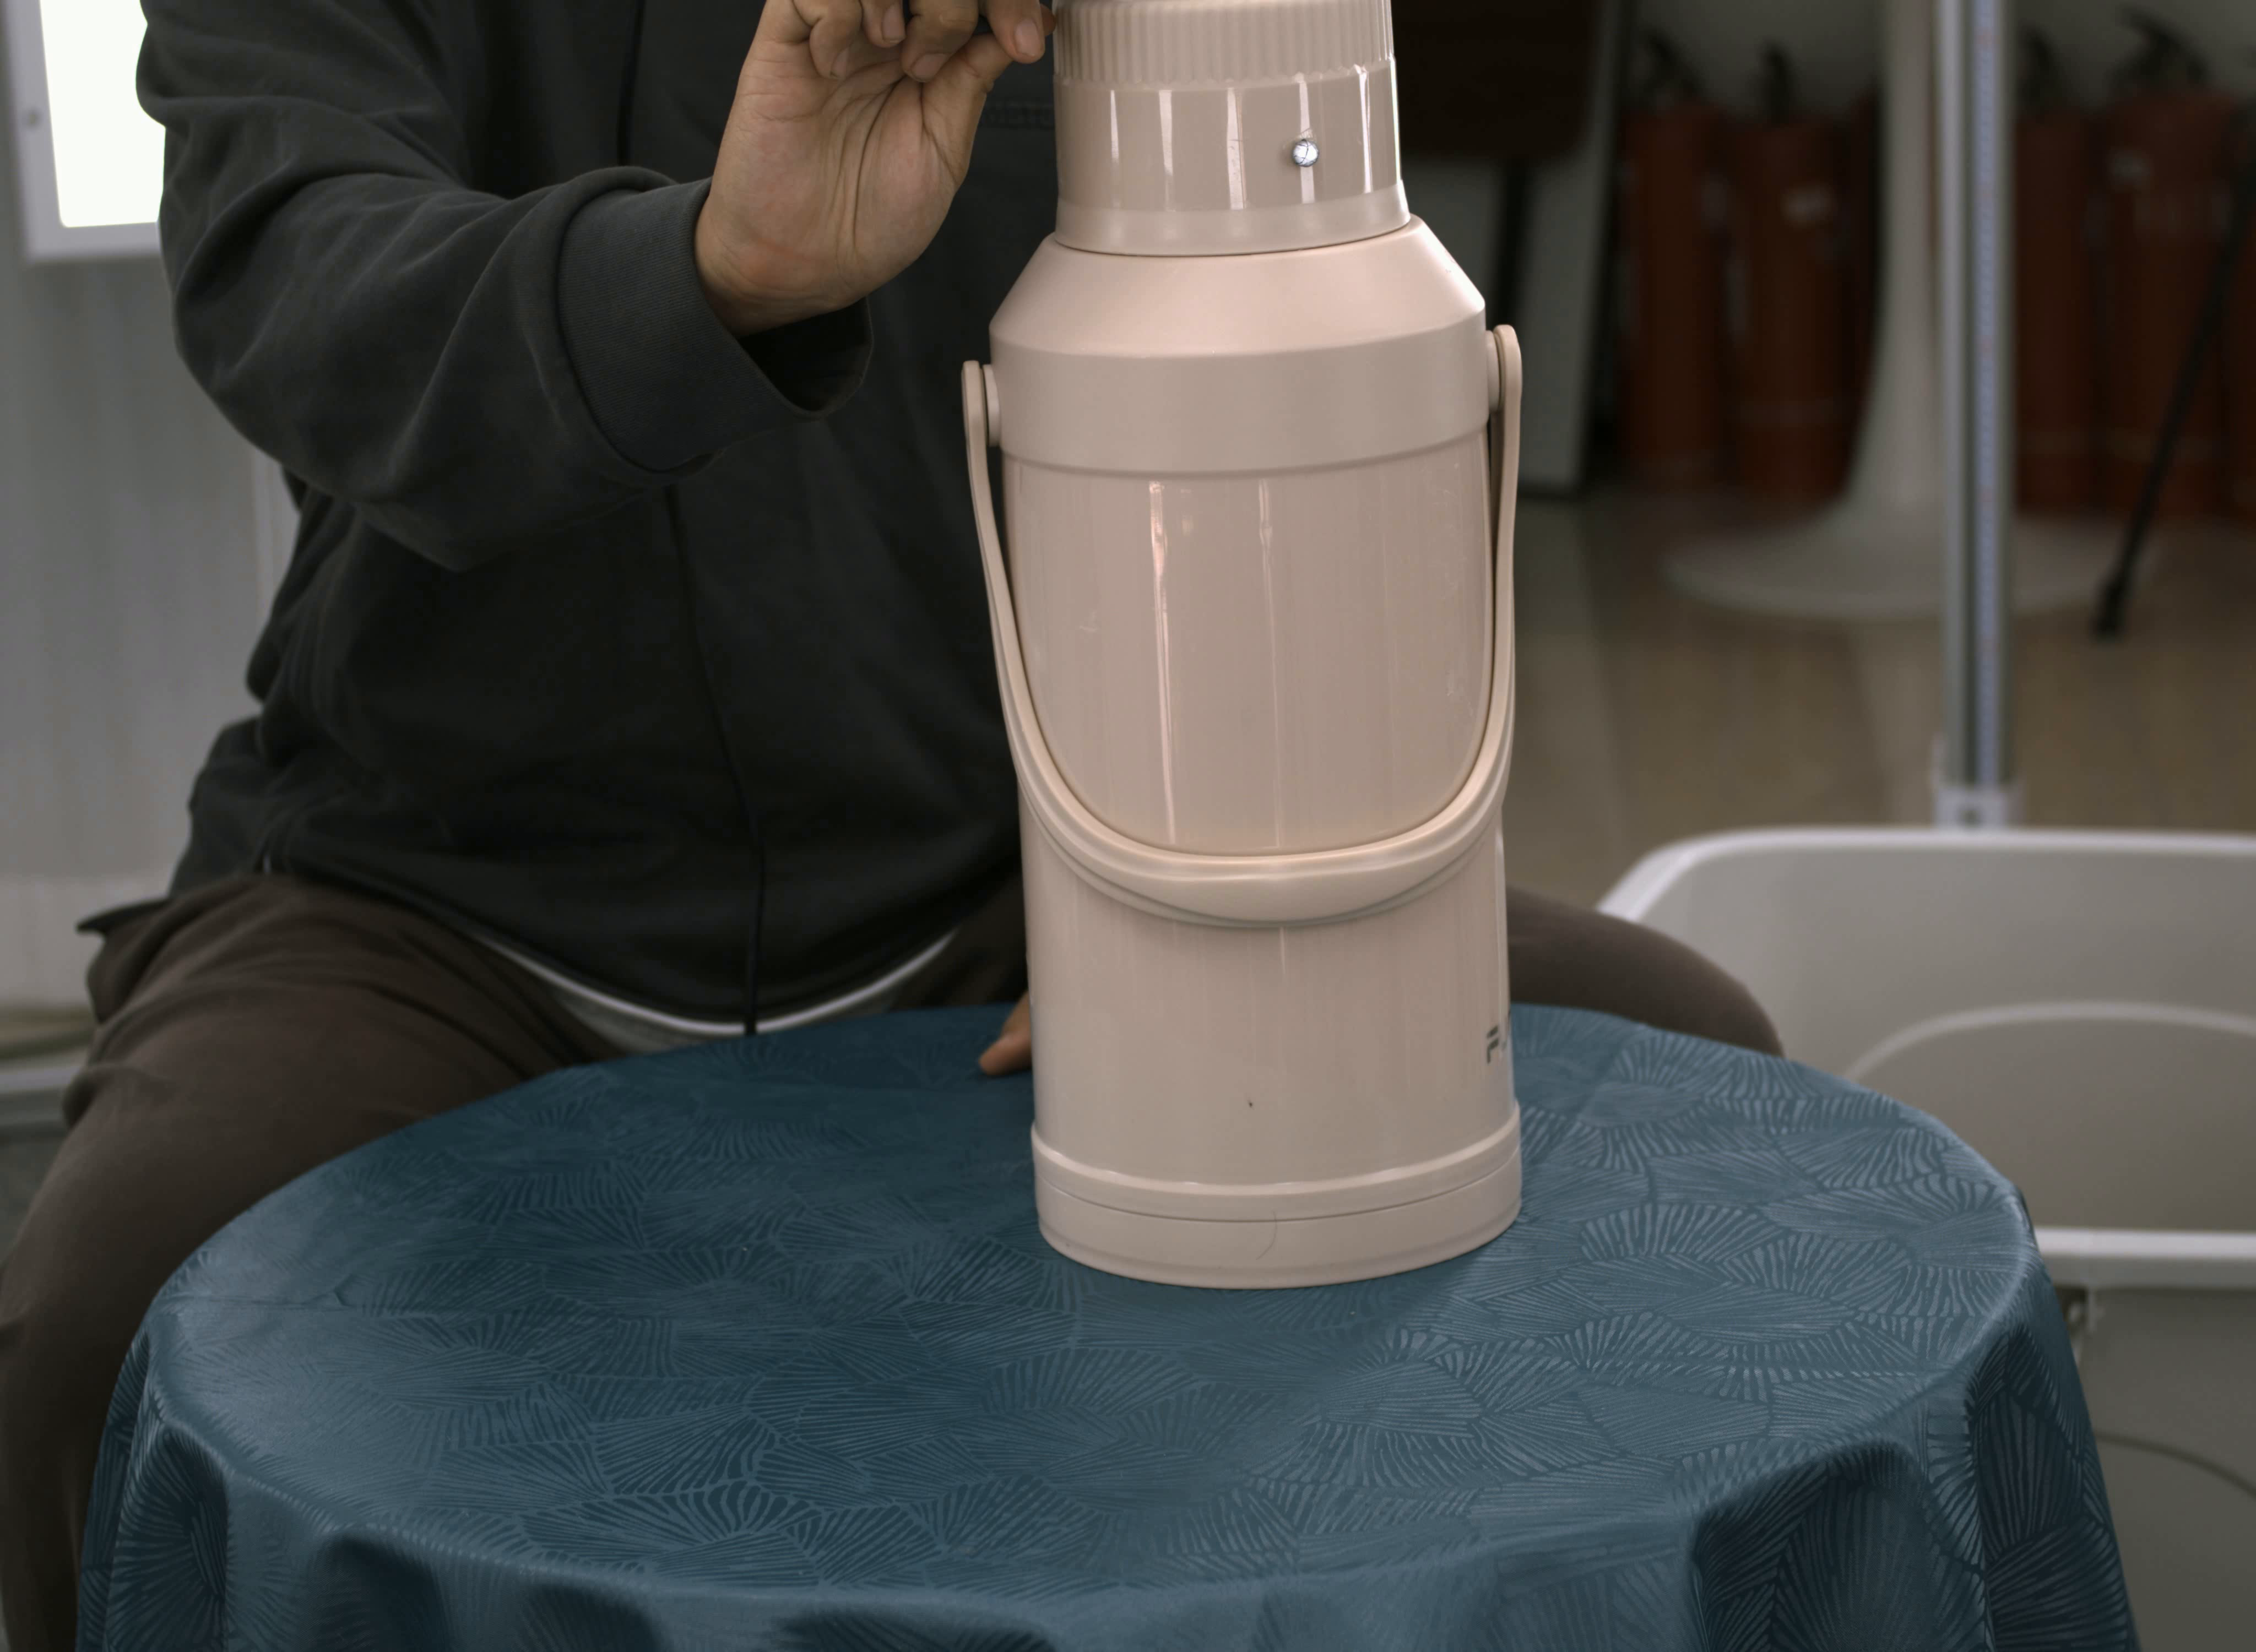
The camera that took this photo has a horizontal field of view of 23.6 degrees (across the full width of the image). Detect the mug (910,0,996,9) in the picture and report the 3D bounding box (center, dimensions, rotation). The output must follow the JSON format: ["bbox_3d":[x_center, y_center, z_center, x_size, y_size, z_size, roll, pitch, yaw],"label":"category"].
[{"bbox_3d":[-0.043,-0.305,1.617,0.088,0.124,0.094,13,13,-27],"label":"mug"}]

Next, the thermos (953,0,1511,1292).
[{"bbox_3d":[0.035,-0.072,1.712,0.173,0.411,0.208,-4,13,-4],"label":"thermos"}]
